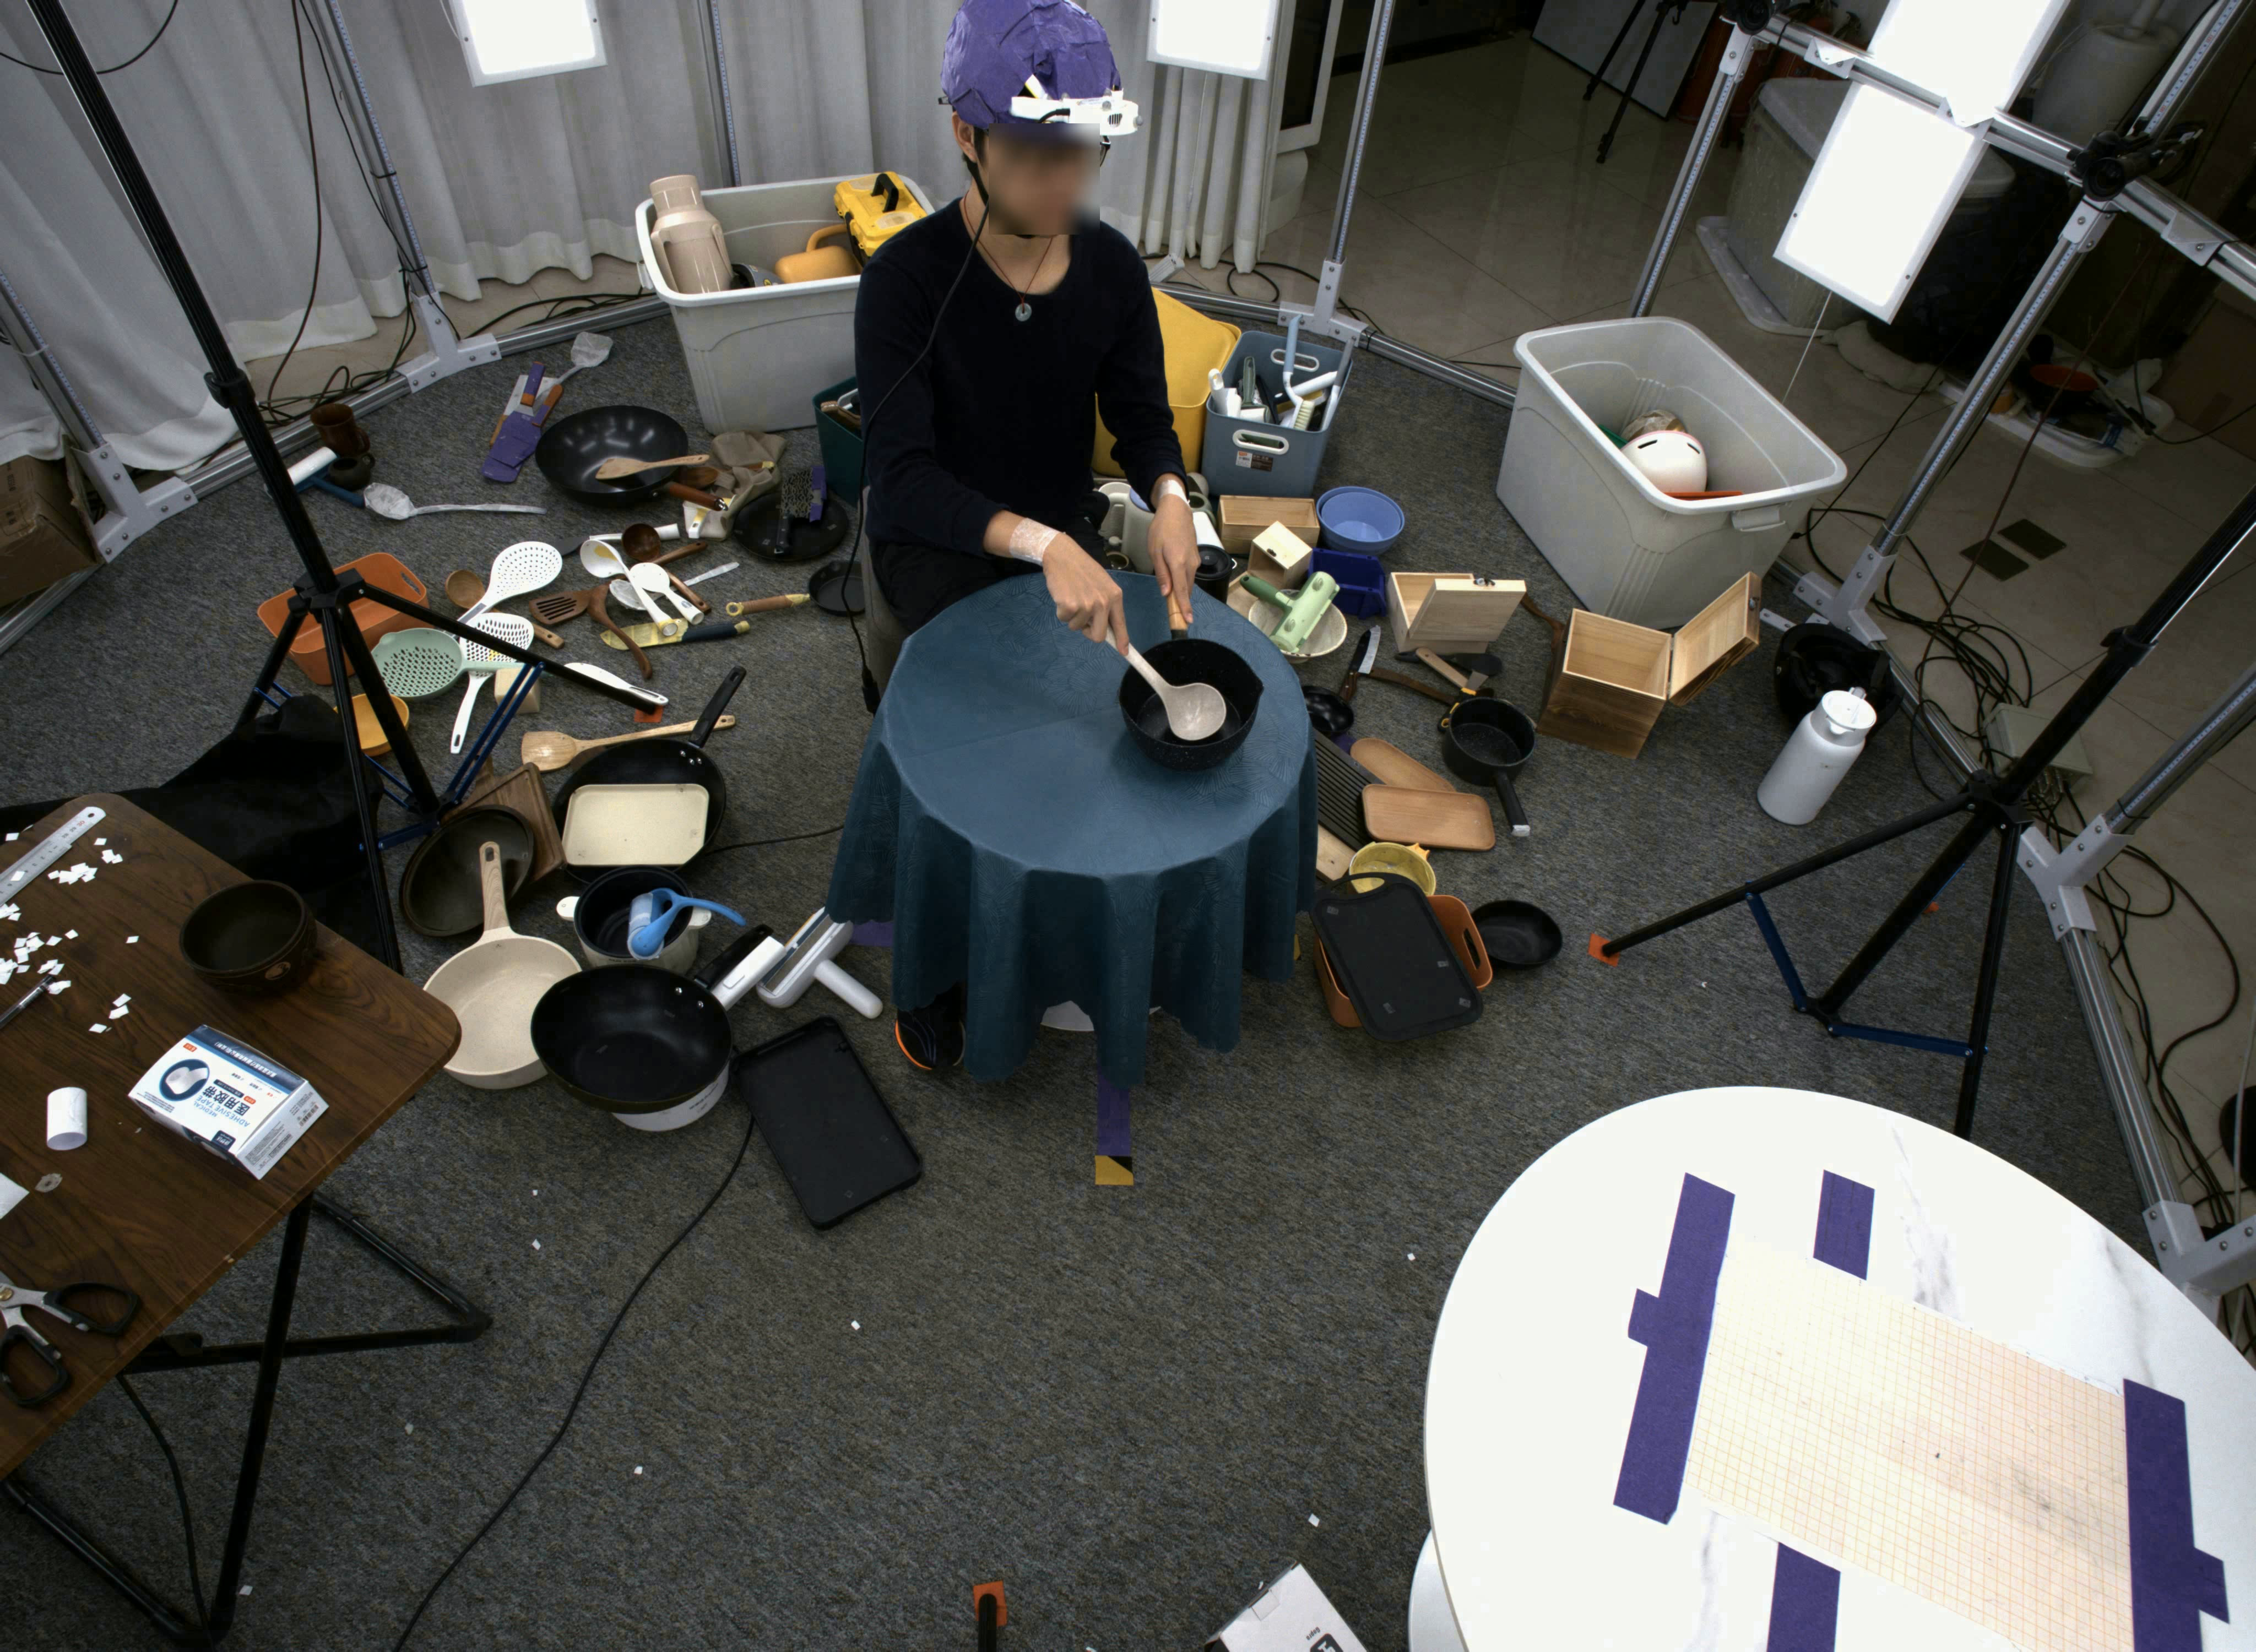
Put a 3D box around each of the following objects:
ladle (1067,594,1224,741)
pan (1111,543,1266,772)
[{"bbox_3d":[0.026,-0.214,1.692,0.070,0.269,0.090,12,66,50],"label":"ladle"},{"bbox_3d":[0.074,-0.233,1.780,0.207,0.106,0.351,-7,58,-1],"label":"pan"}]
